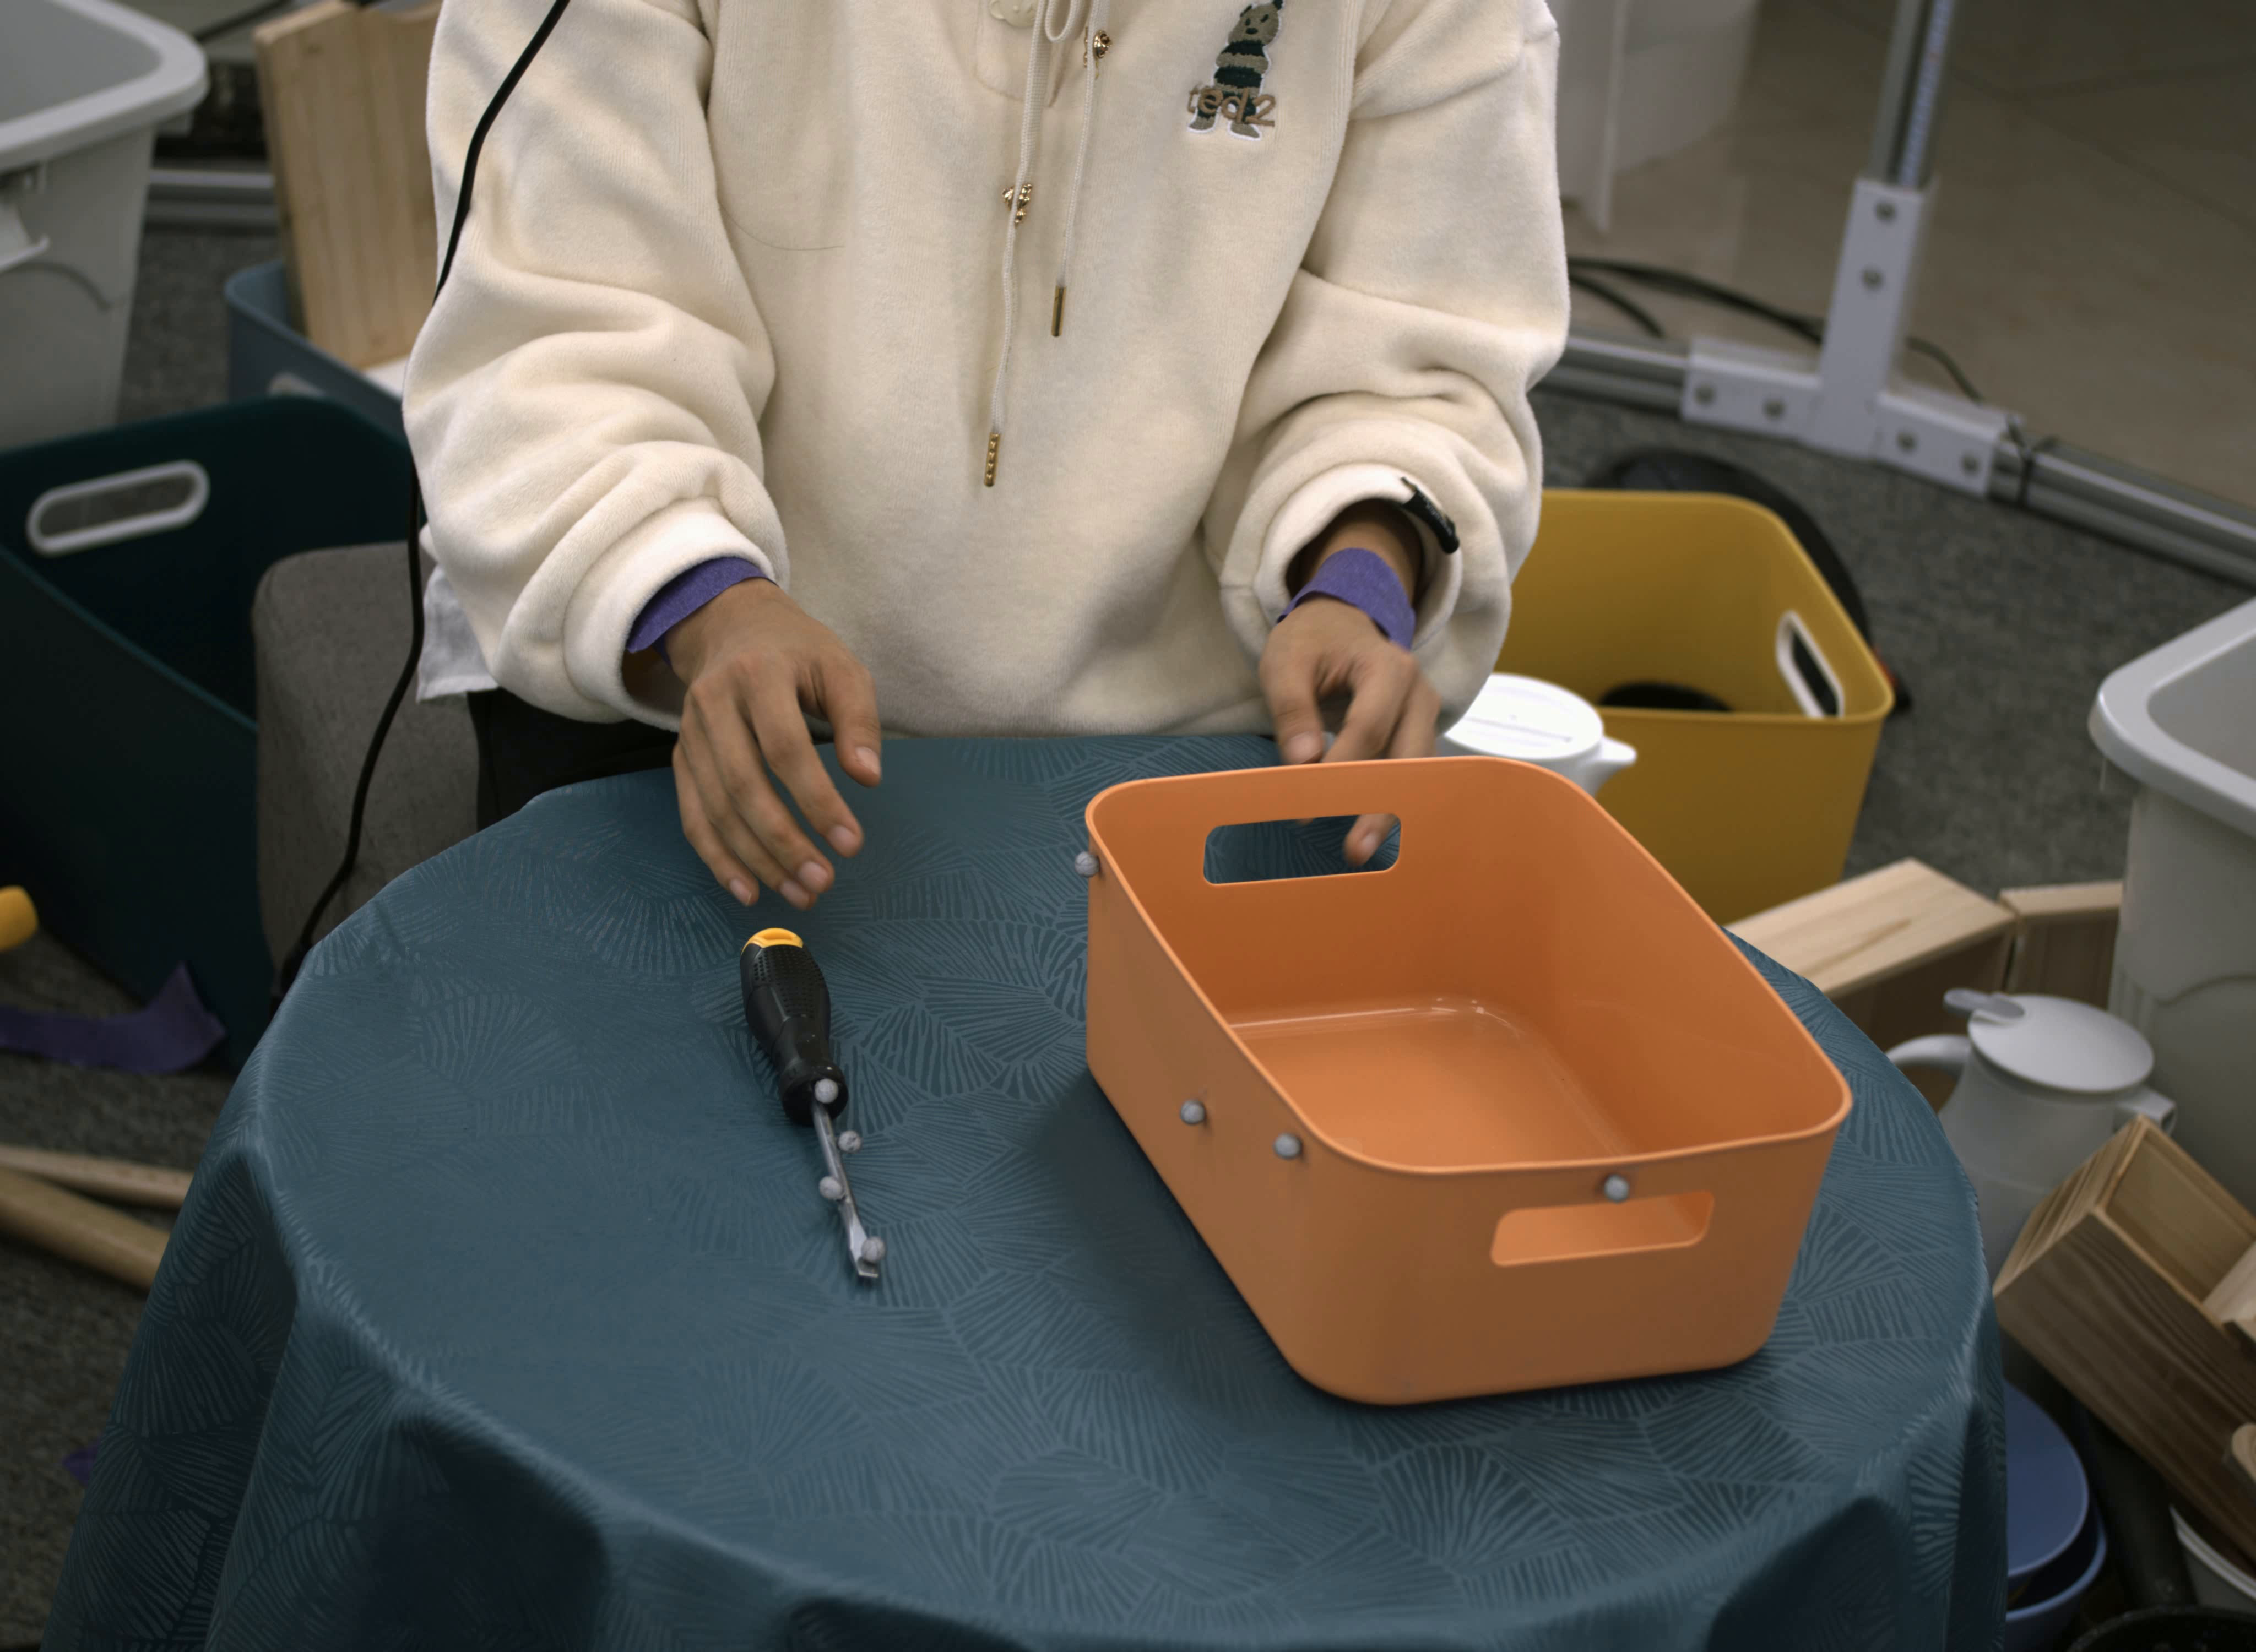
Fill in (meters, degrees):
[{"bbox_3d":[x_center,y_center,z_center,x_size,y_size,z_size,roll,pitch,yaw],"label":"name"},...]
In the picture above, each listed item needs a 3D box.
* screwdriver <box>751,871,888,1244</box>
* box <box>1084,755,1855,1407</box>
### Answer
[{"bbox_3d":[-0.099,0.080,1.815,0.031,0.031,0.200,-2,37,-17],"label":"screwdriver"},{"bbox_3d":[0.105,0.084,1.790,0.198,0.102,0.275,-5,29,-20],"label":"box"}]
